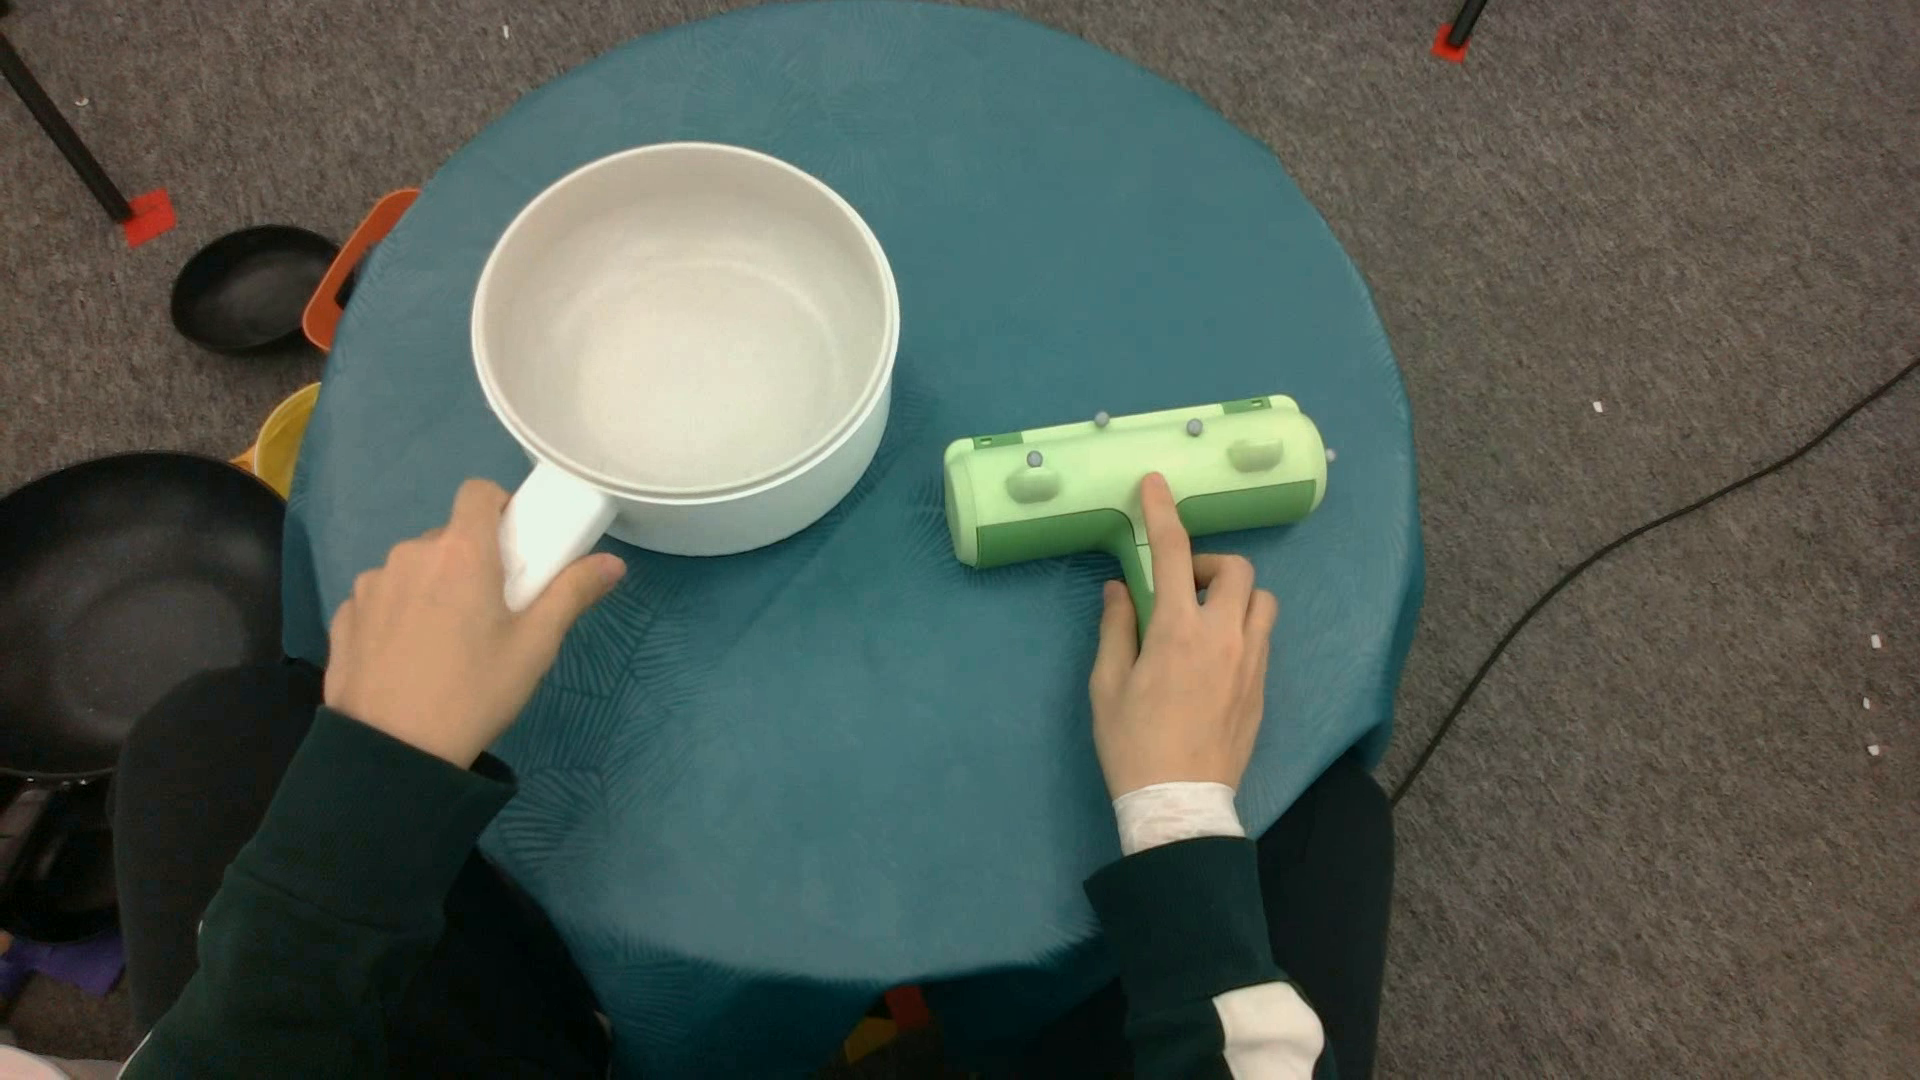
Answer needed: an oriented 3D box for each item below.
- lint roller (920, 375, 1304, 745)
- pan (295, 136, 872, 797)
[{"bbox_3d":[0.092,0.005,0.687,0.199,0.082,0.184,-9,62,-9],"label":"lint roller"},{"bbox_3d":[-0.181,-0.032,0.673,0.201,0.101,0.356,27,68,6],"label":"pan"}]
